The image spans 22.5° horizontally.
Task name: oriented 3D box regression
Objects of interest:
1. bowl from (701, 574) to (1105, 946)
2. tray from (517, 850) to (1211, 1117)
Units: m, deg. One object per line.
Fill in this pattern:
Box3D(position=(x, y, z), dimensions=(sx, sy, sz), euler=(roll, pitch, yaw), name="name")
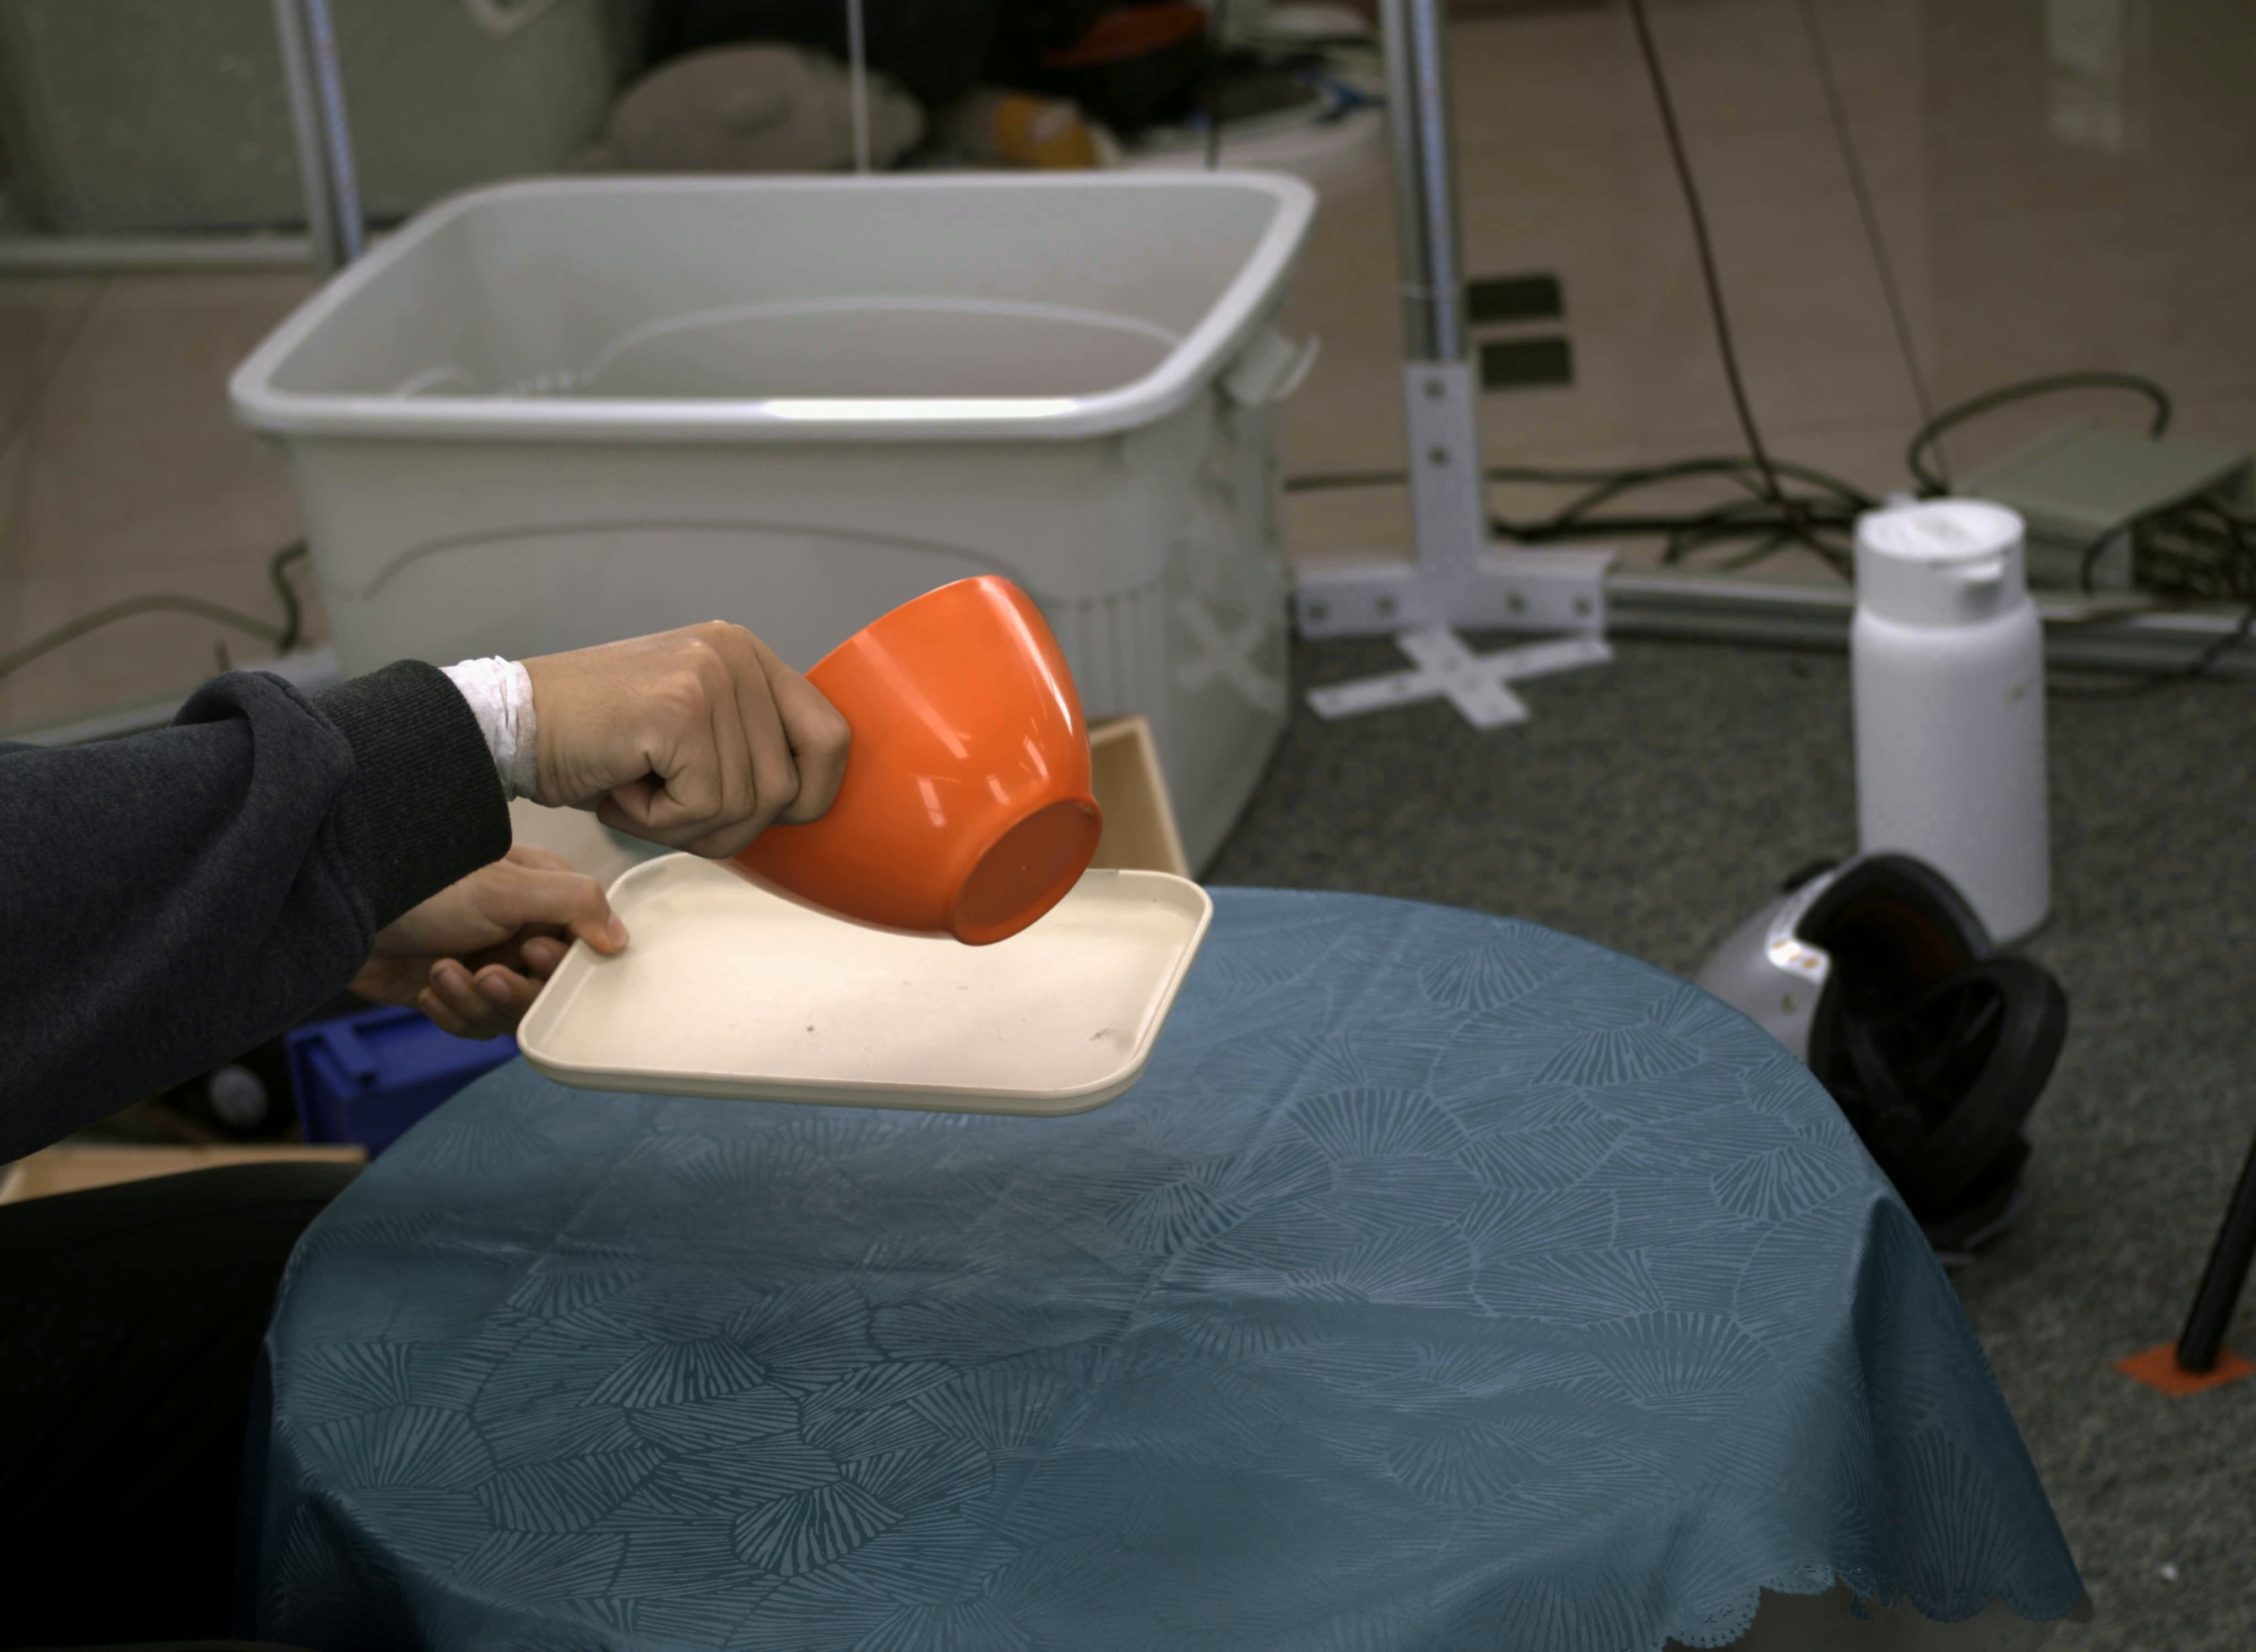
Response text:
Box3D(position=(-0.064, -0.010, 1.958), dimensions=(0.147, 0.151, 0.103), euler=(-24, 57, -33), name="bowl")
Box3D(position=(-0.096, 0.059, 2.112), dimensions=(0.239, 0.018, 0.168), euler=(3, 29, 14), name="tray")
